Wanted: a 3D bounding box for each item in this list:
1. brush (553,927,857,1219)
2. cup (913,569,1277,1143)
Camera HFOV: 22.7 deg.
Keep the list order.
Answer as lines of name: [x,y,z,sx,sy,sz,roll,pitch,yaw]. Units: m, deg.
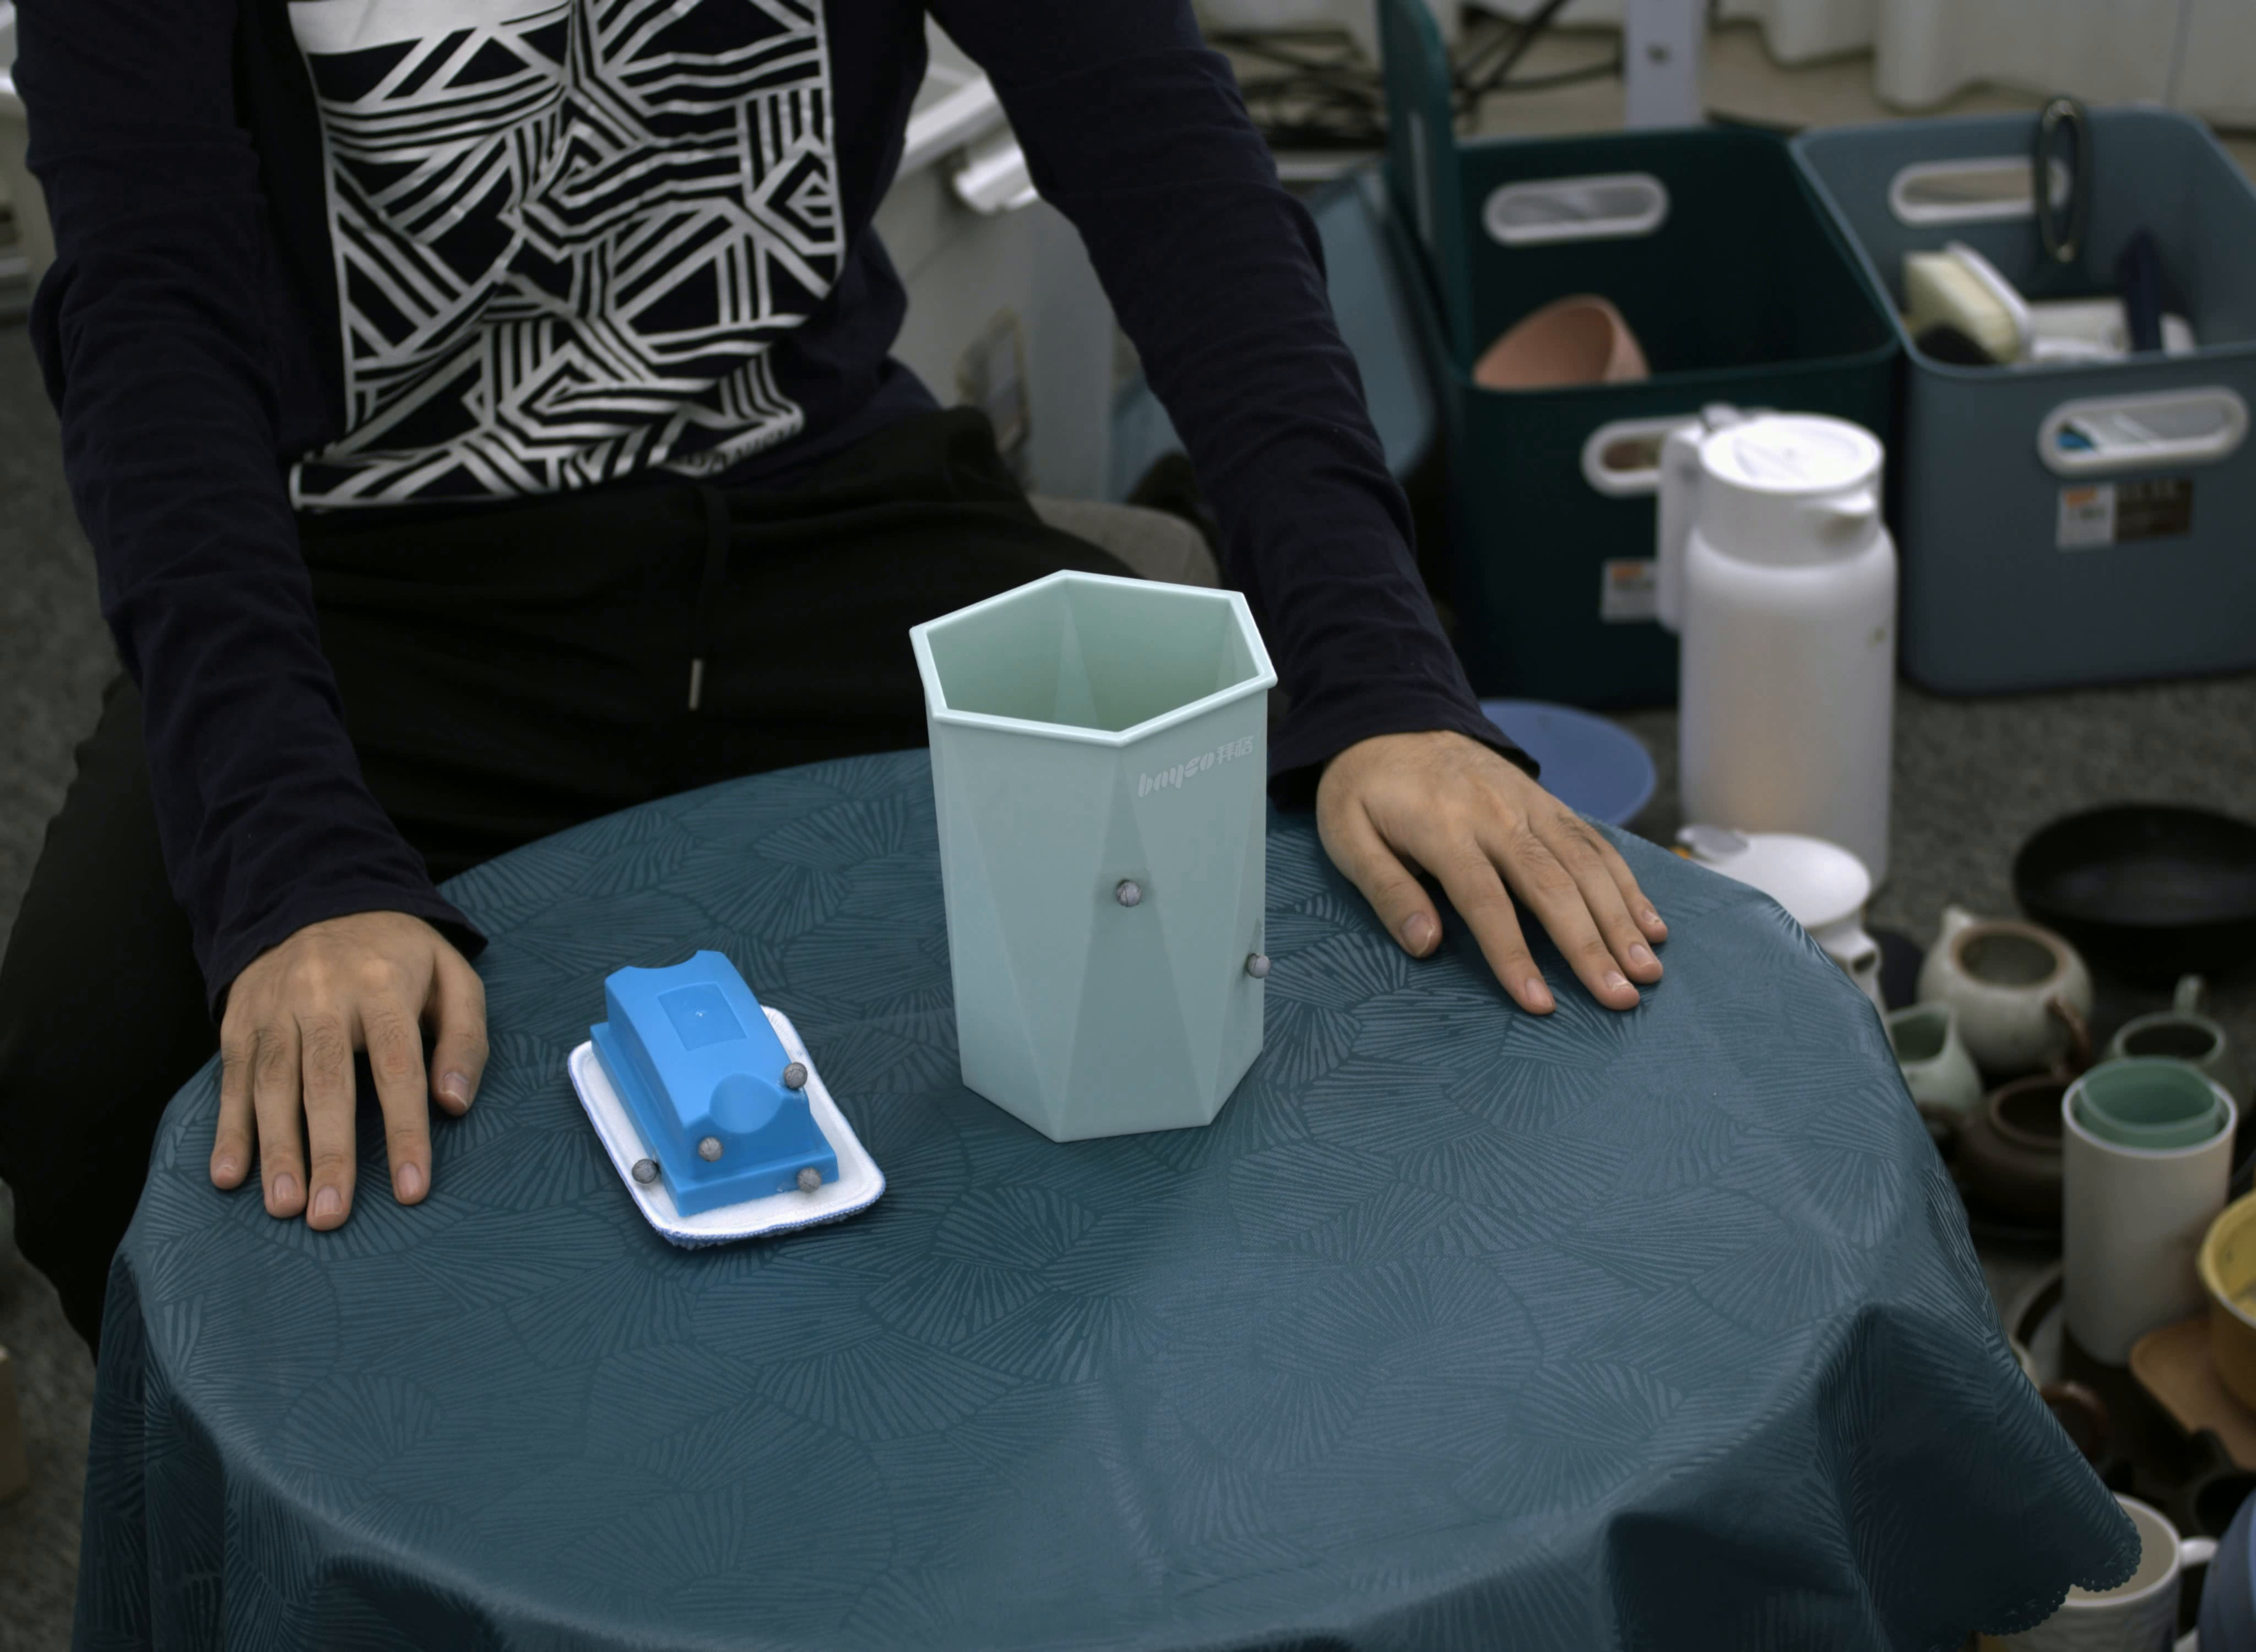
brush: [-0.142,0.079,1.890,0.084,0.055,0.145,-8,30,-15]
cup: [-0.007,0.012,1.896,0.132,0.161,0.115,-22,31,-34]
